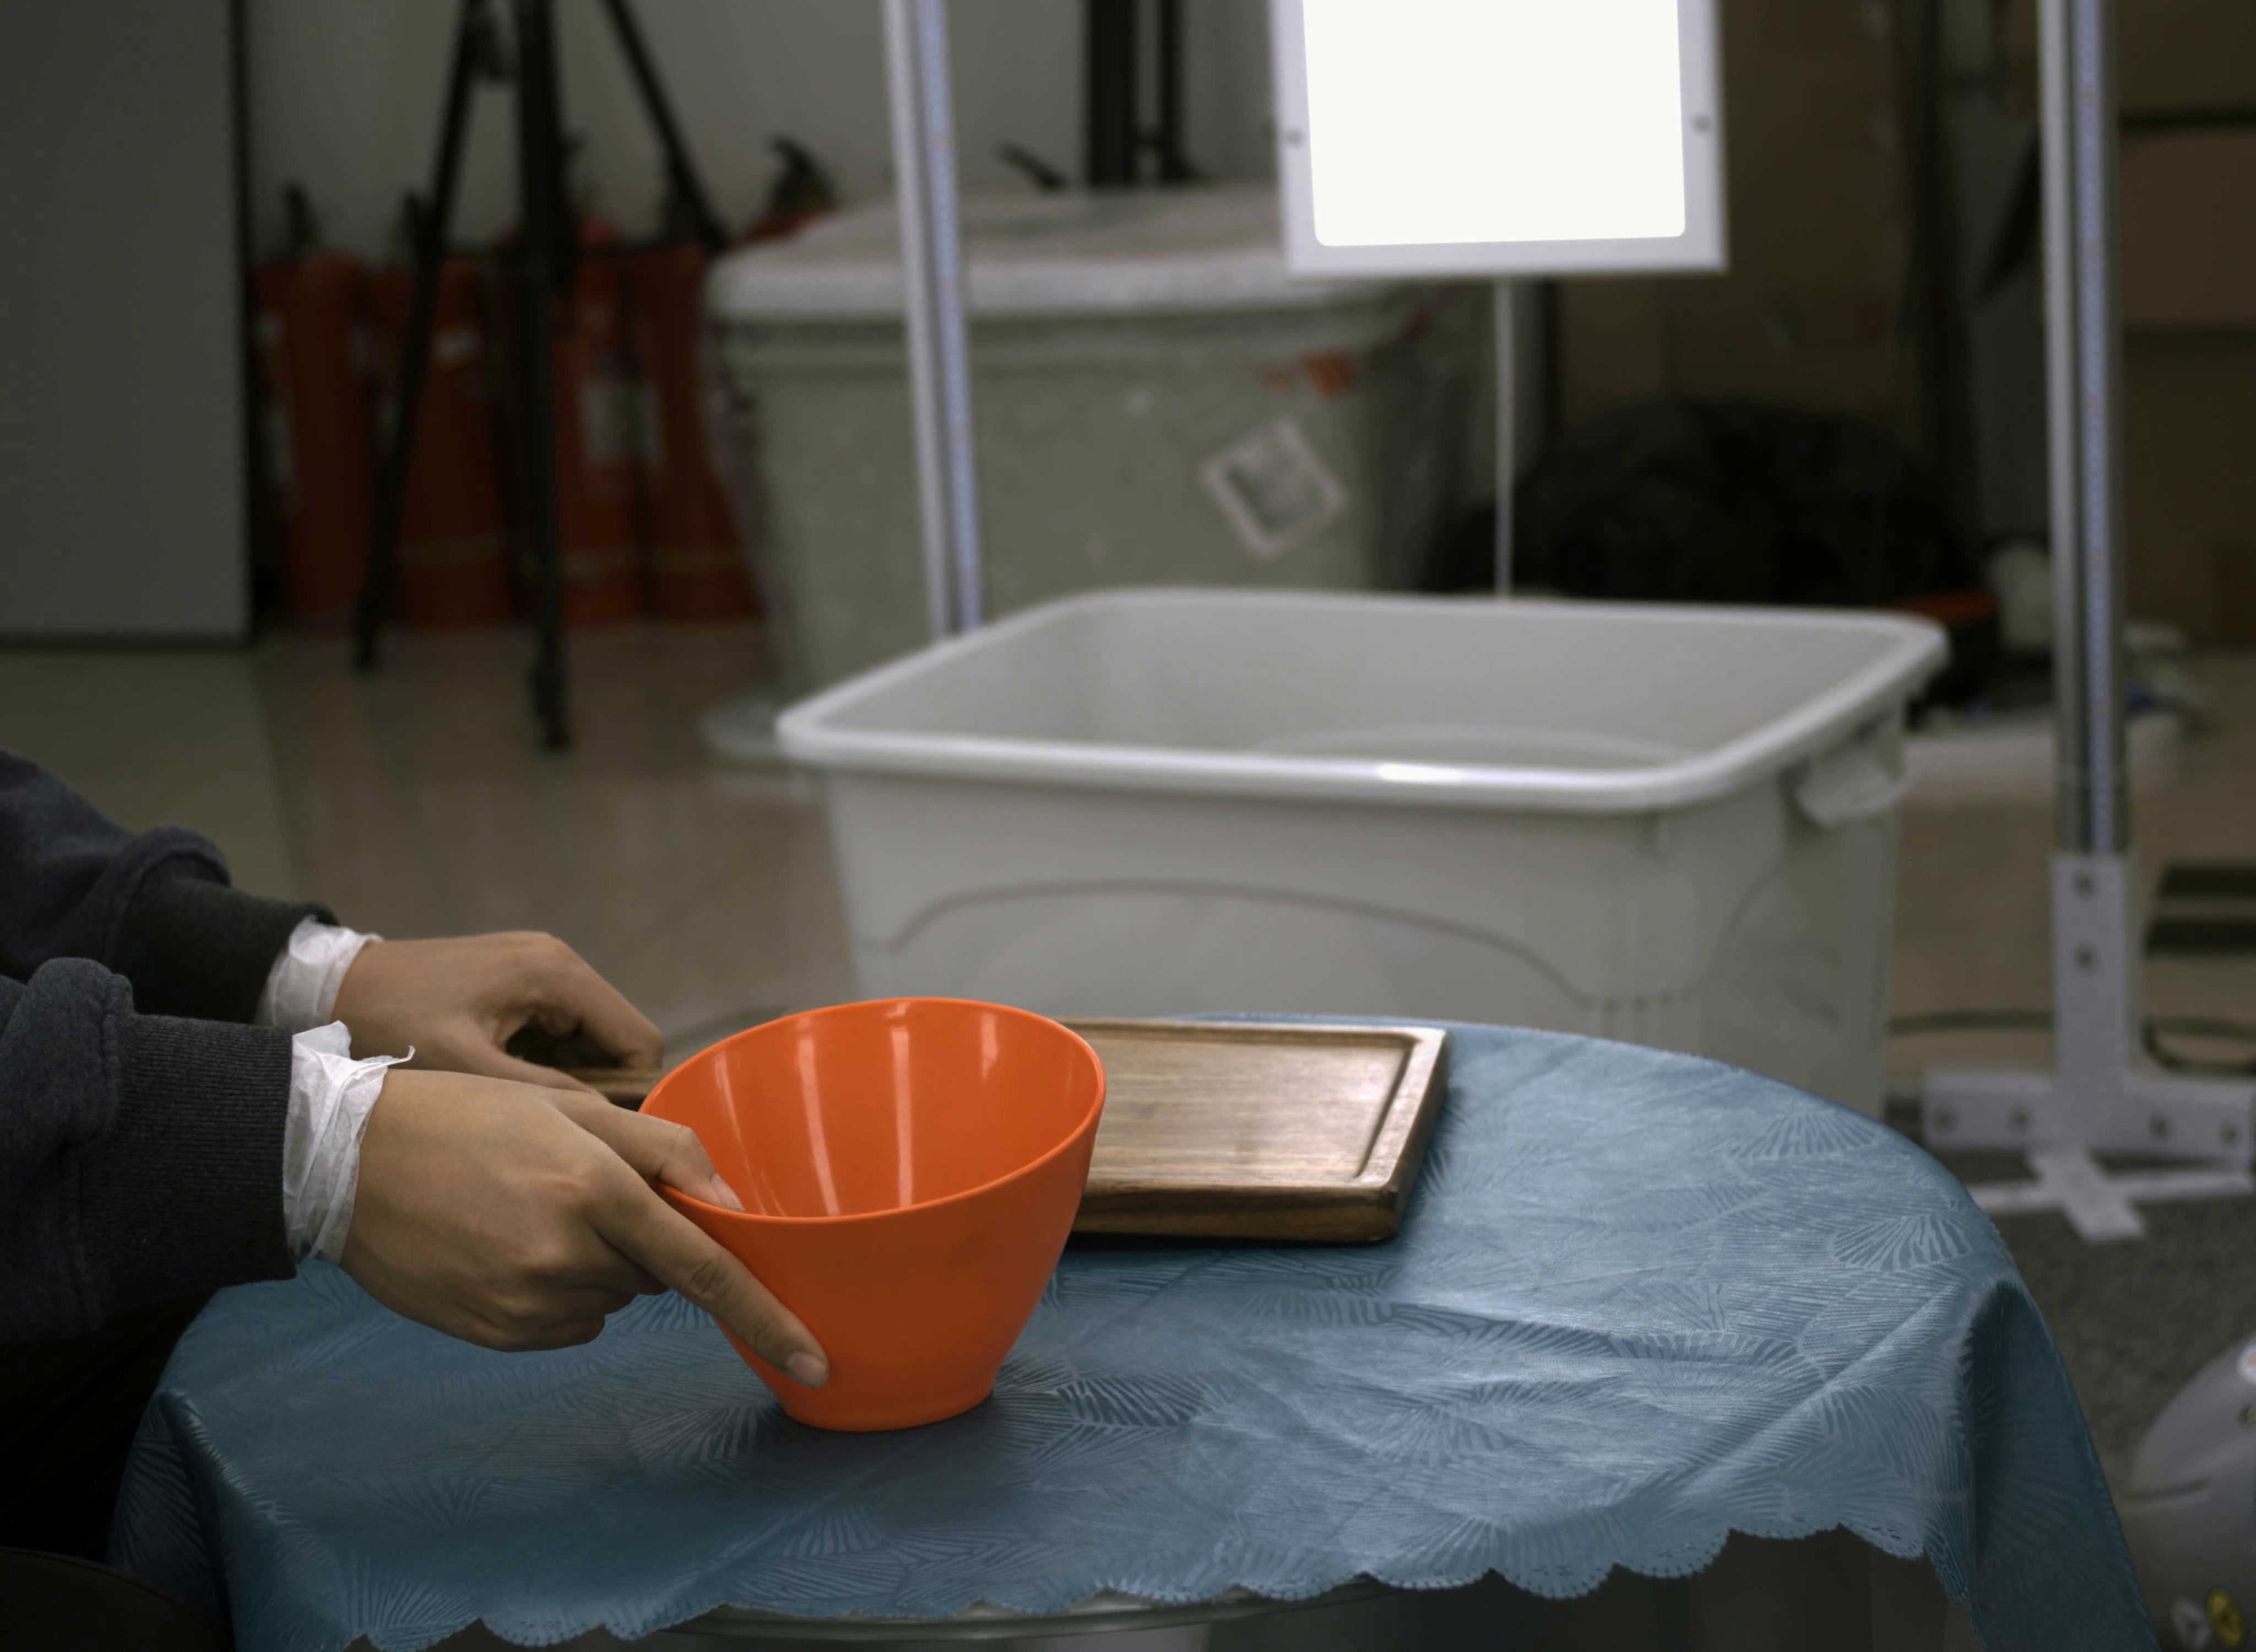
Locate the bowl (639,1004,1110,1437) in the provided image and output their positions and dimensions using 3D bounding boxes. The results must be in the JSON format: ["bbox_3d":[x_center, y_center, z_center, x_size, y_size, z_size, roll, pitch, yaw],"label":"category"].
[{"bbox_3d":[-0.075,0.126,1.714,0.147,0.105,0.148,-5,14,0],"label":"bowl"}]

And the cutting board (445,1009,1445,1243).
[{"bbox_3d":[-0.069,0.101,1.938,0.354,0.023,0.199,1,15,11],"label":"cutting board"}]
